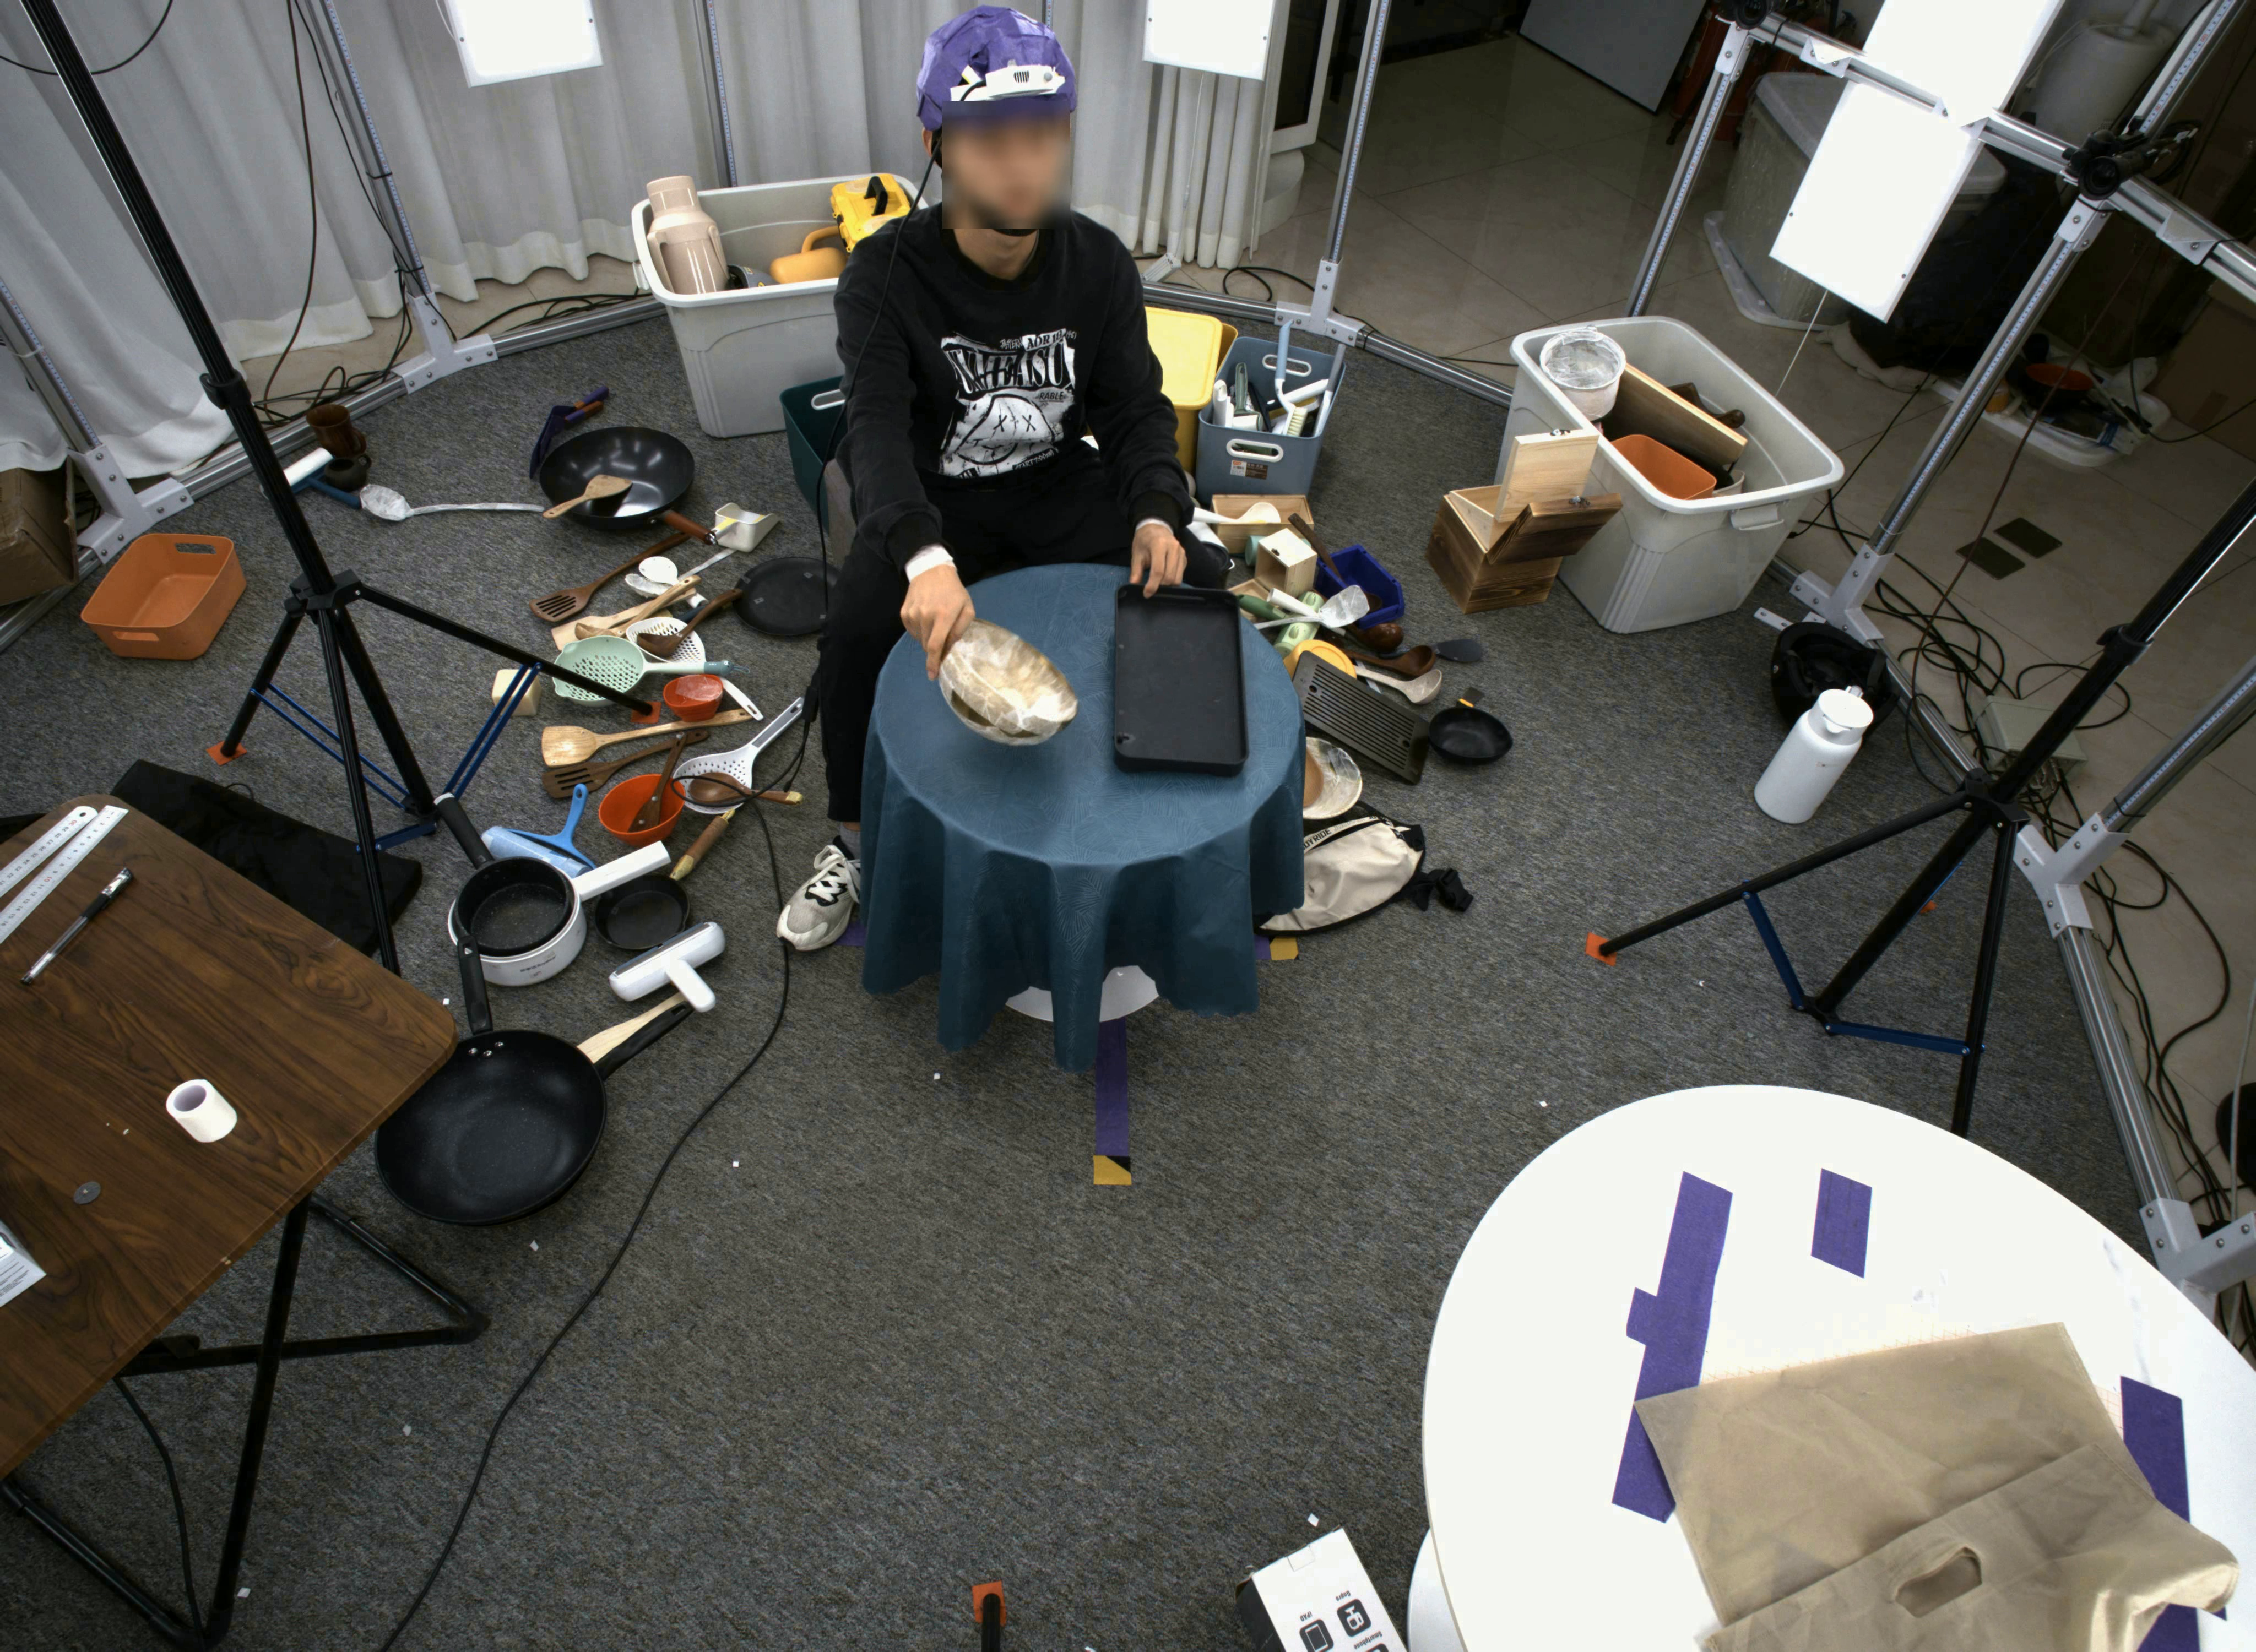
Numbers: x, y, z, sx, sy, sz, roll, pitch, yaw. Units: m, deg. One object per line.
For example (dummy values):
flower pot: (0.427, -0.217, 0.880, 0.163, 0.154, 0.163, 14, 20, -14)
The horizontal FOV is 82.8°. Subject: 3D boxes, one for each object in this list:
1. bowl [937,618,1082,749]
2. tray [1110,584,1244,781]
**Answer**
bowl: (-0.170, -0.169, 1.678, 0.213, 0.093, 0.219, 34, 22, -16)
tray: (0.070, -0.208, 1.826, 0.184, 0.036, 0.325, 5, 56, -4)
